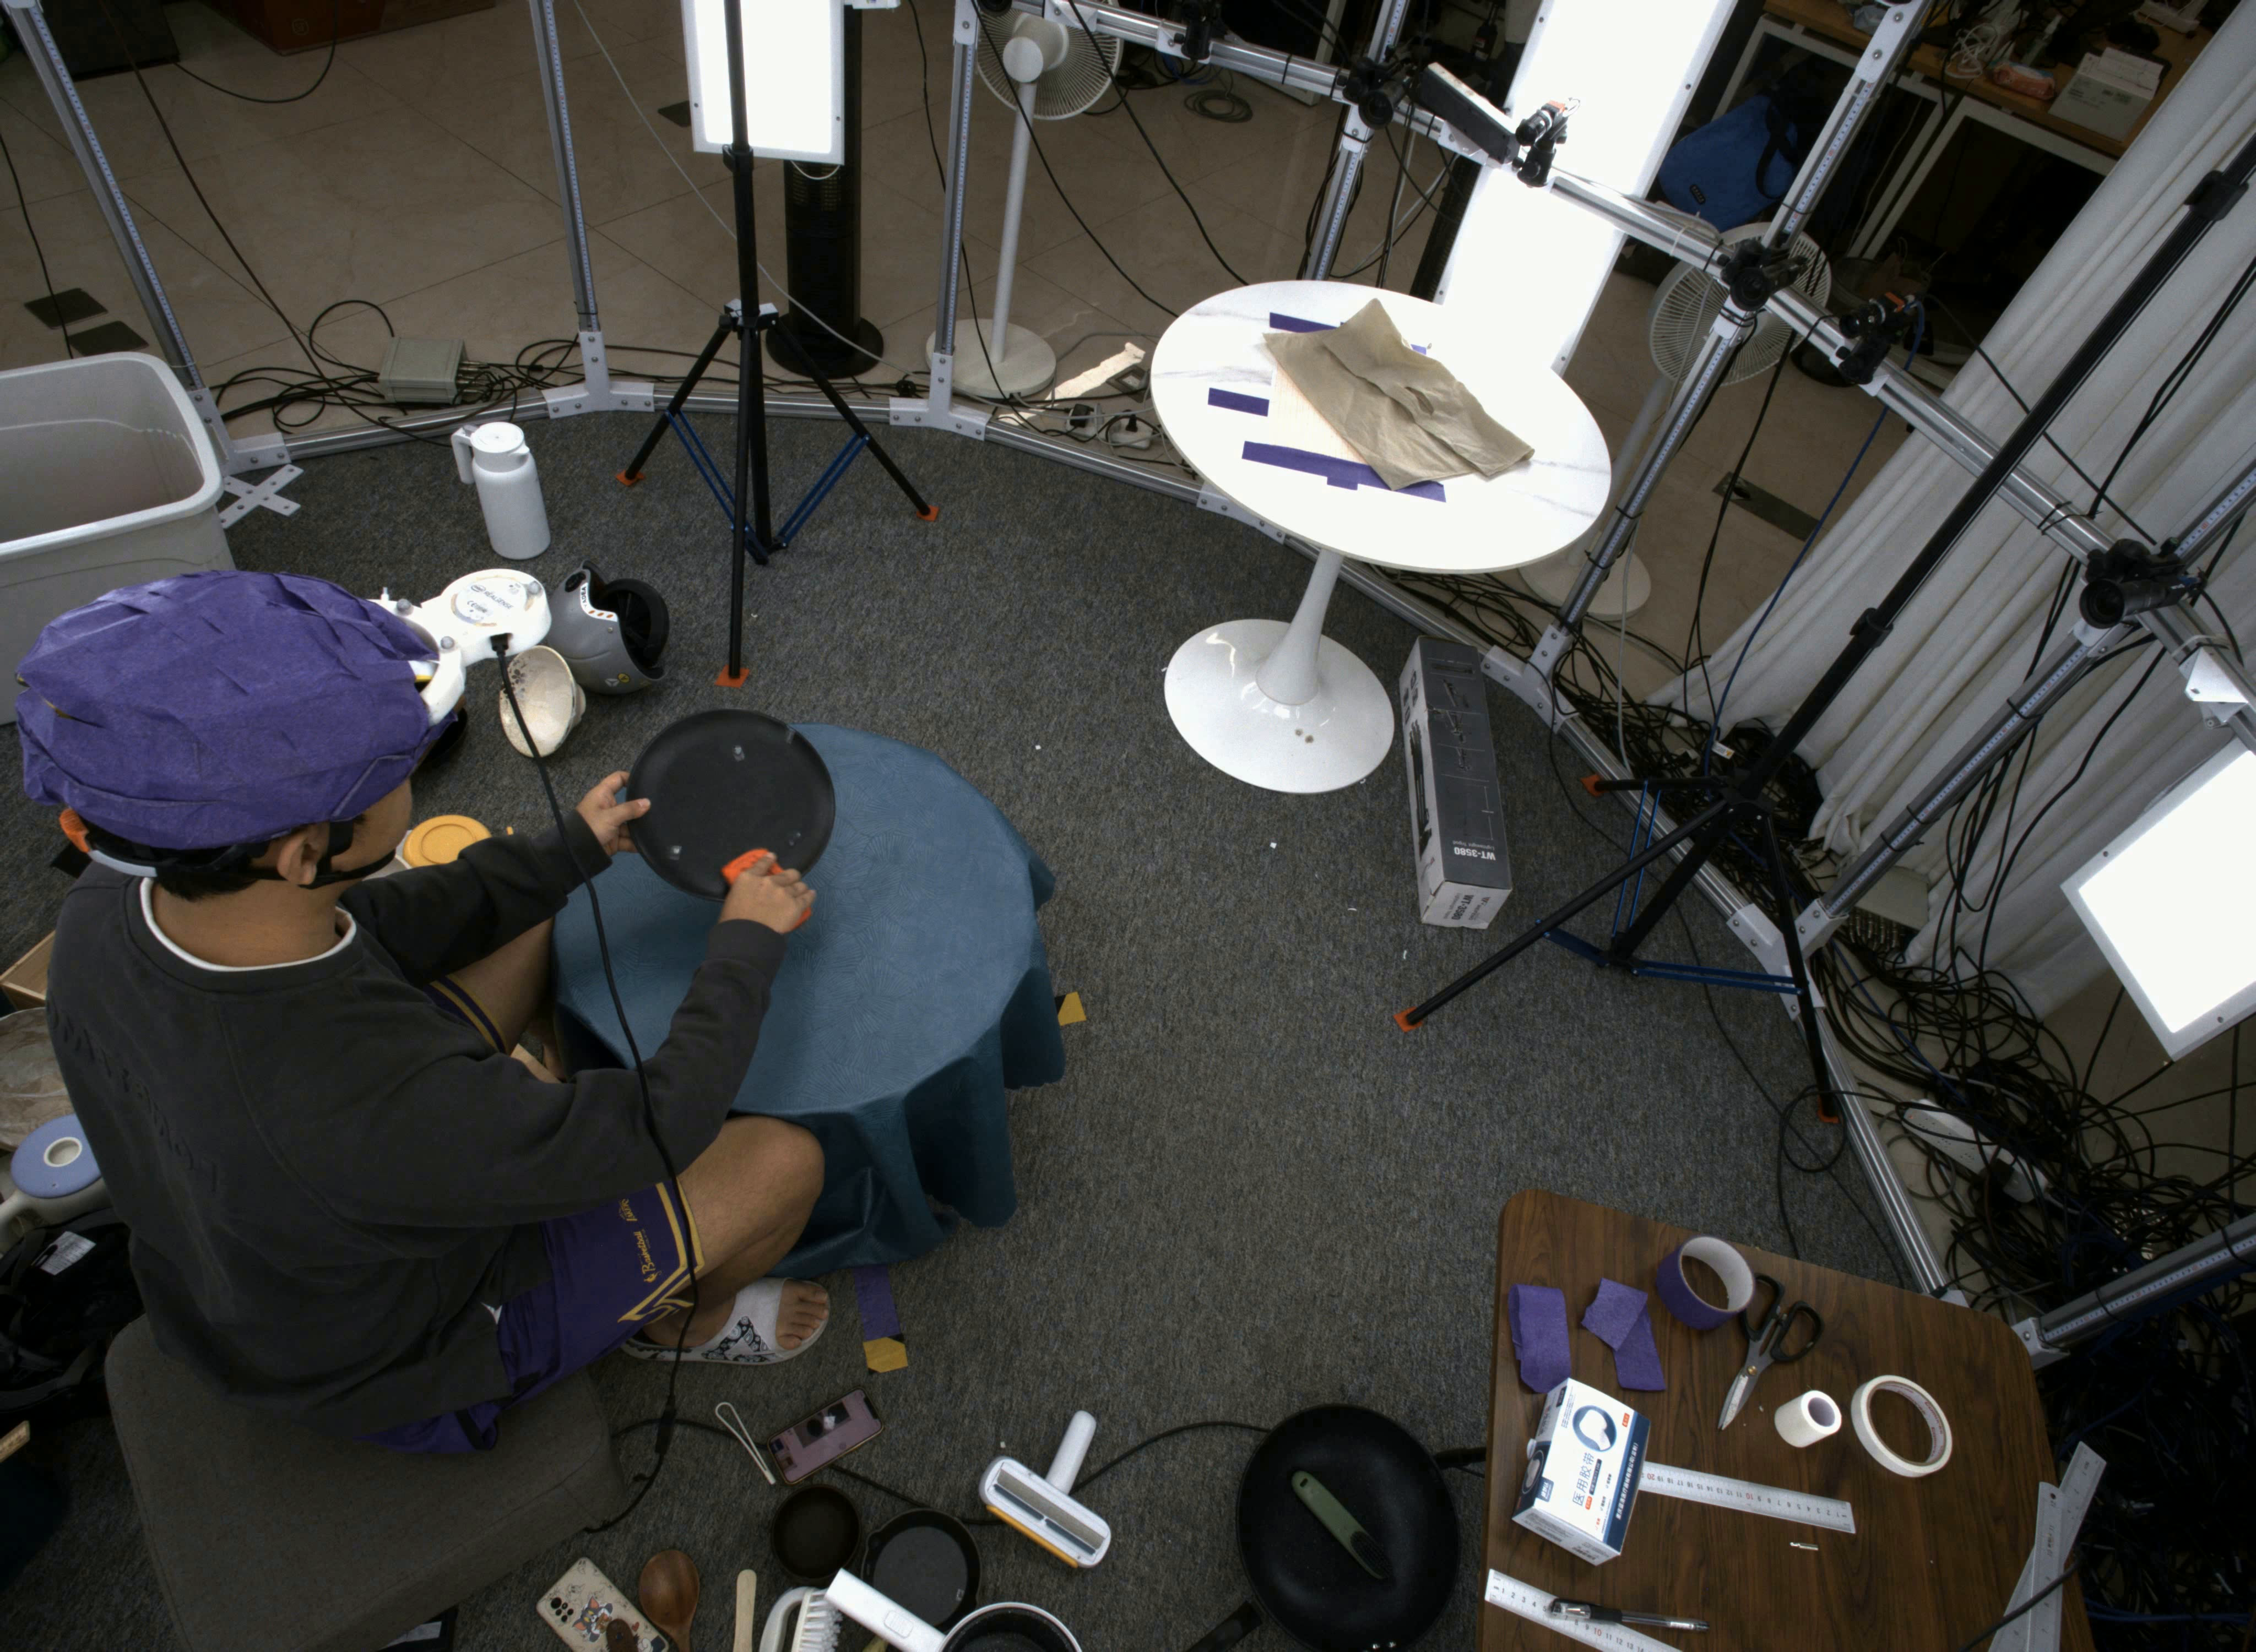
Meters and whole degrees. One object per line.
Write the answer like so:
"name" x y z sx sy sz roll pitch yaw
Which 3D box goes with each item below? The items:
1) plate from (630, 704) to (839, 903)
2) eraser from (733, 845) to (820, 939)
"plate" -0.469 -0.027 1.543 0.246 0.023 0.243 7 73 -19
"eraser" -0.410 0.074 1.509 0.059 0.023 0.106 -33 72 -28
